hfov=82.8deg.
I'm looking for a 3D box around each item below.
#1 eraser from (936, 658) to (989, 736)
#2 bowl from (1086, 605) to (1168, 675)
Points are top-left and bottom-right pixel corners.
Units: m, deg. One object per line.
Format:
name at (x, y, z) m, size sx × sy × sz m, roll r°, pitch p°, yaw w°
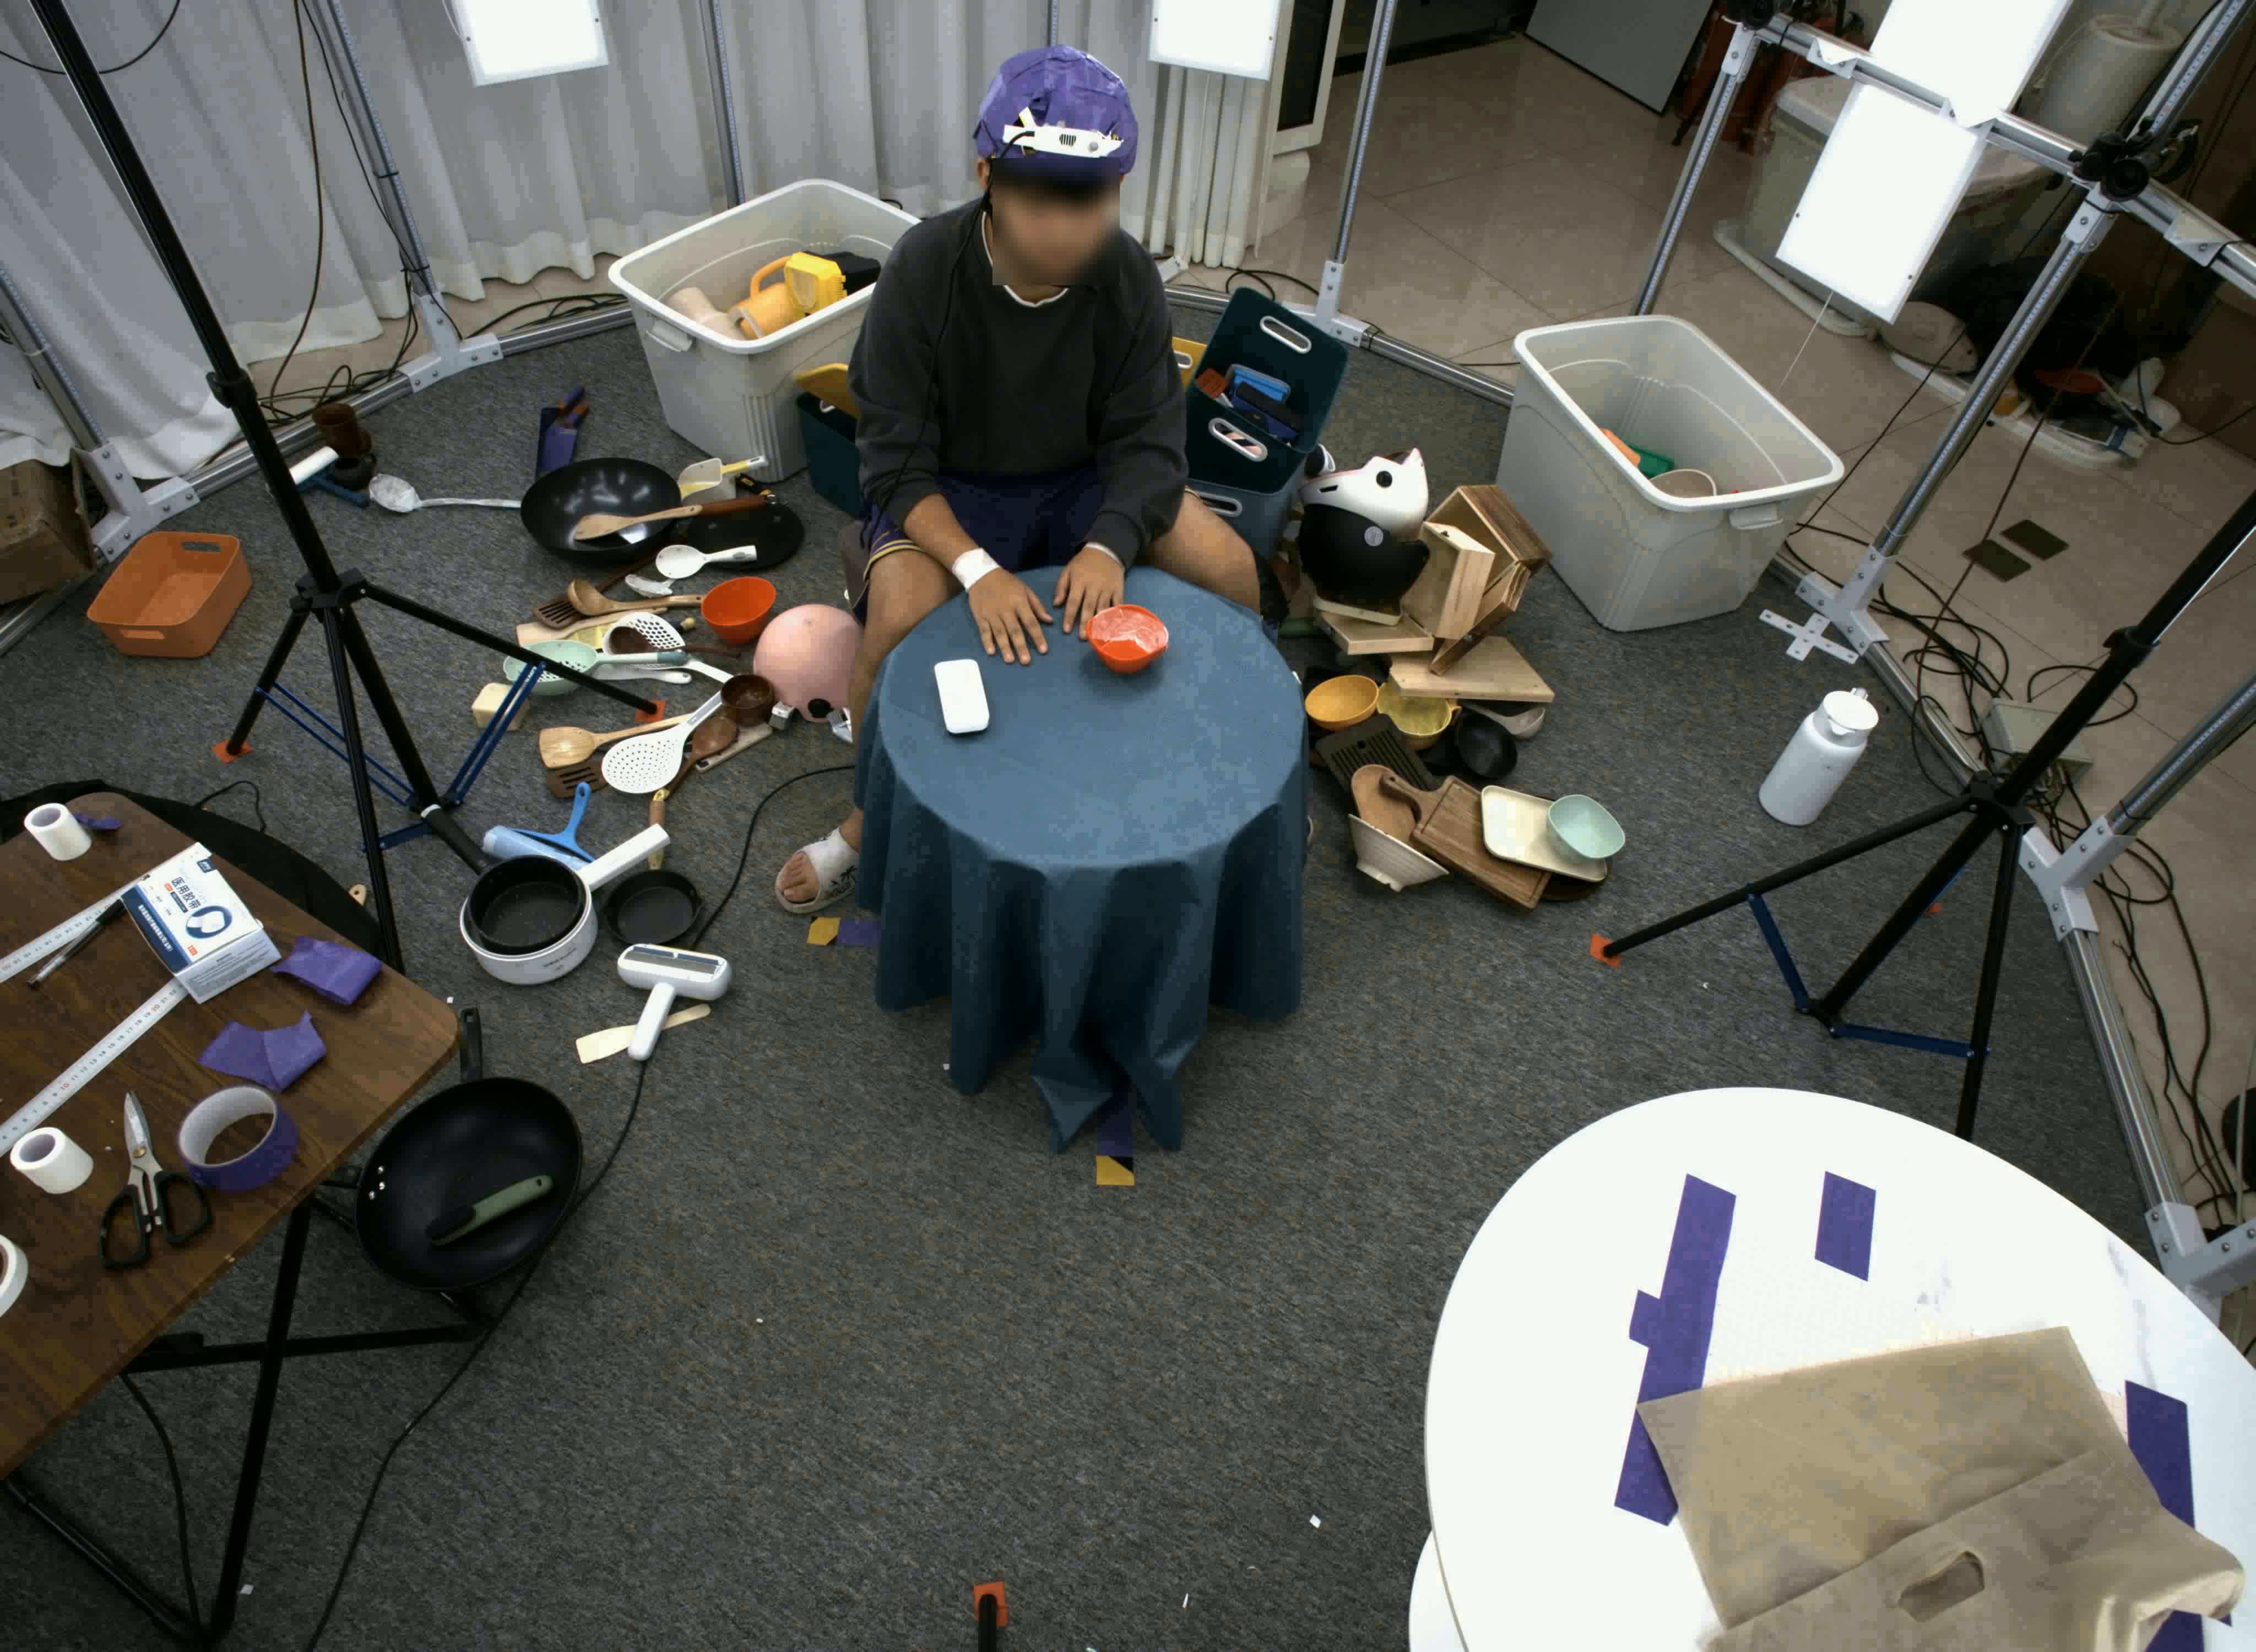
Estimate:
eraser at (-0.229, -0.182, 1.788) m, size 0.063 × 0.034 × 0.134 m, roll -5°, pitch 51°, yaw -10°
bowl at (-0.002, -0.264, 1.863) m, size 0.119 × 0.050 × 0.122 m, roll 1°, pitch 49°, yaw -2°
